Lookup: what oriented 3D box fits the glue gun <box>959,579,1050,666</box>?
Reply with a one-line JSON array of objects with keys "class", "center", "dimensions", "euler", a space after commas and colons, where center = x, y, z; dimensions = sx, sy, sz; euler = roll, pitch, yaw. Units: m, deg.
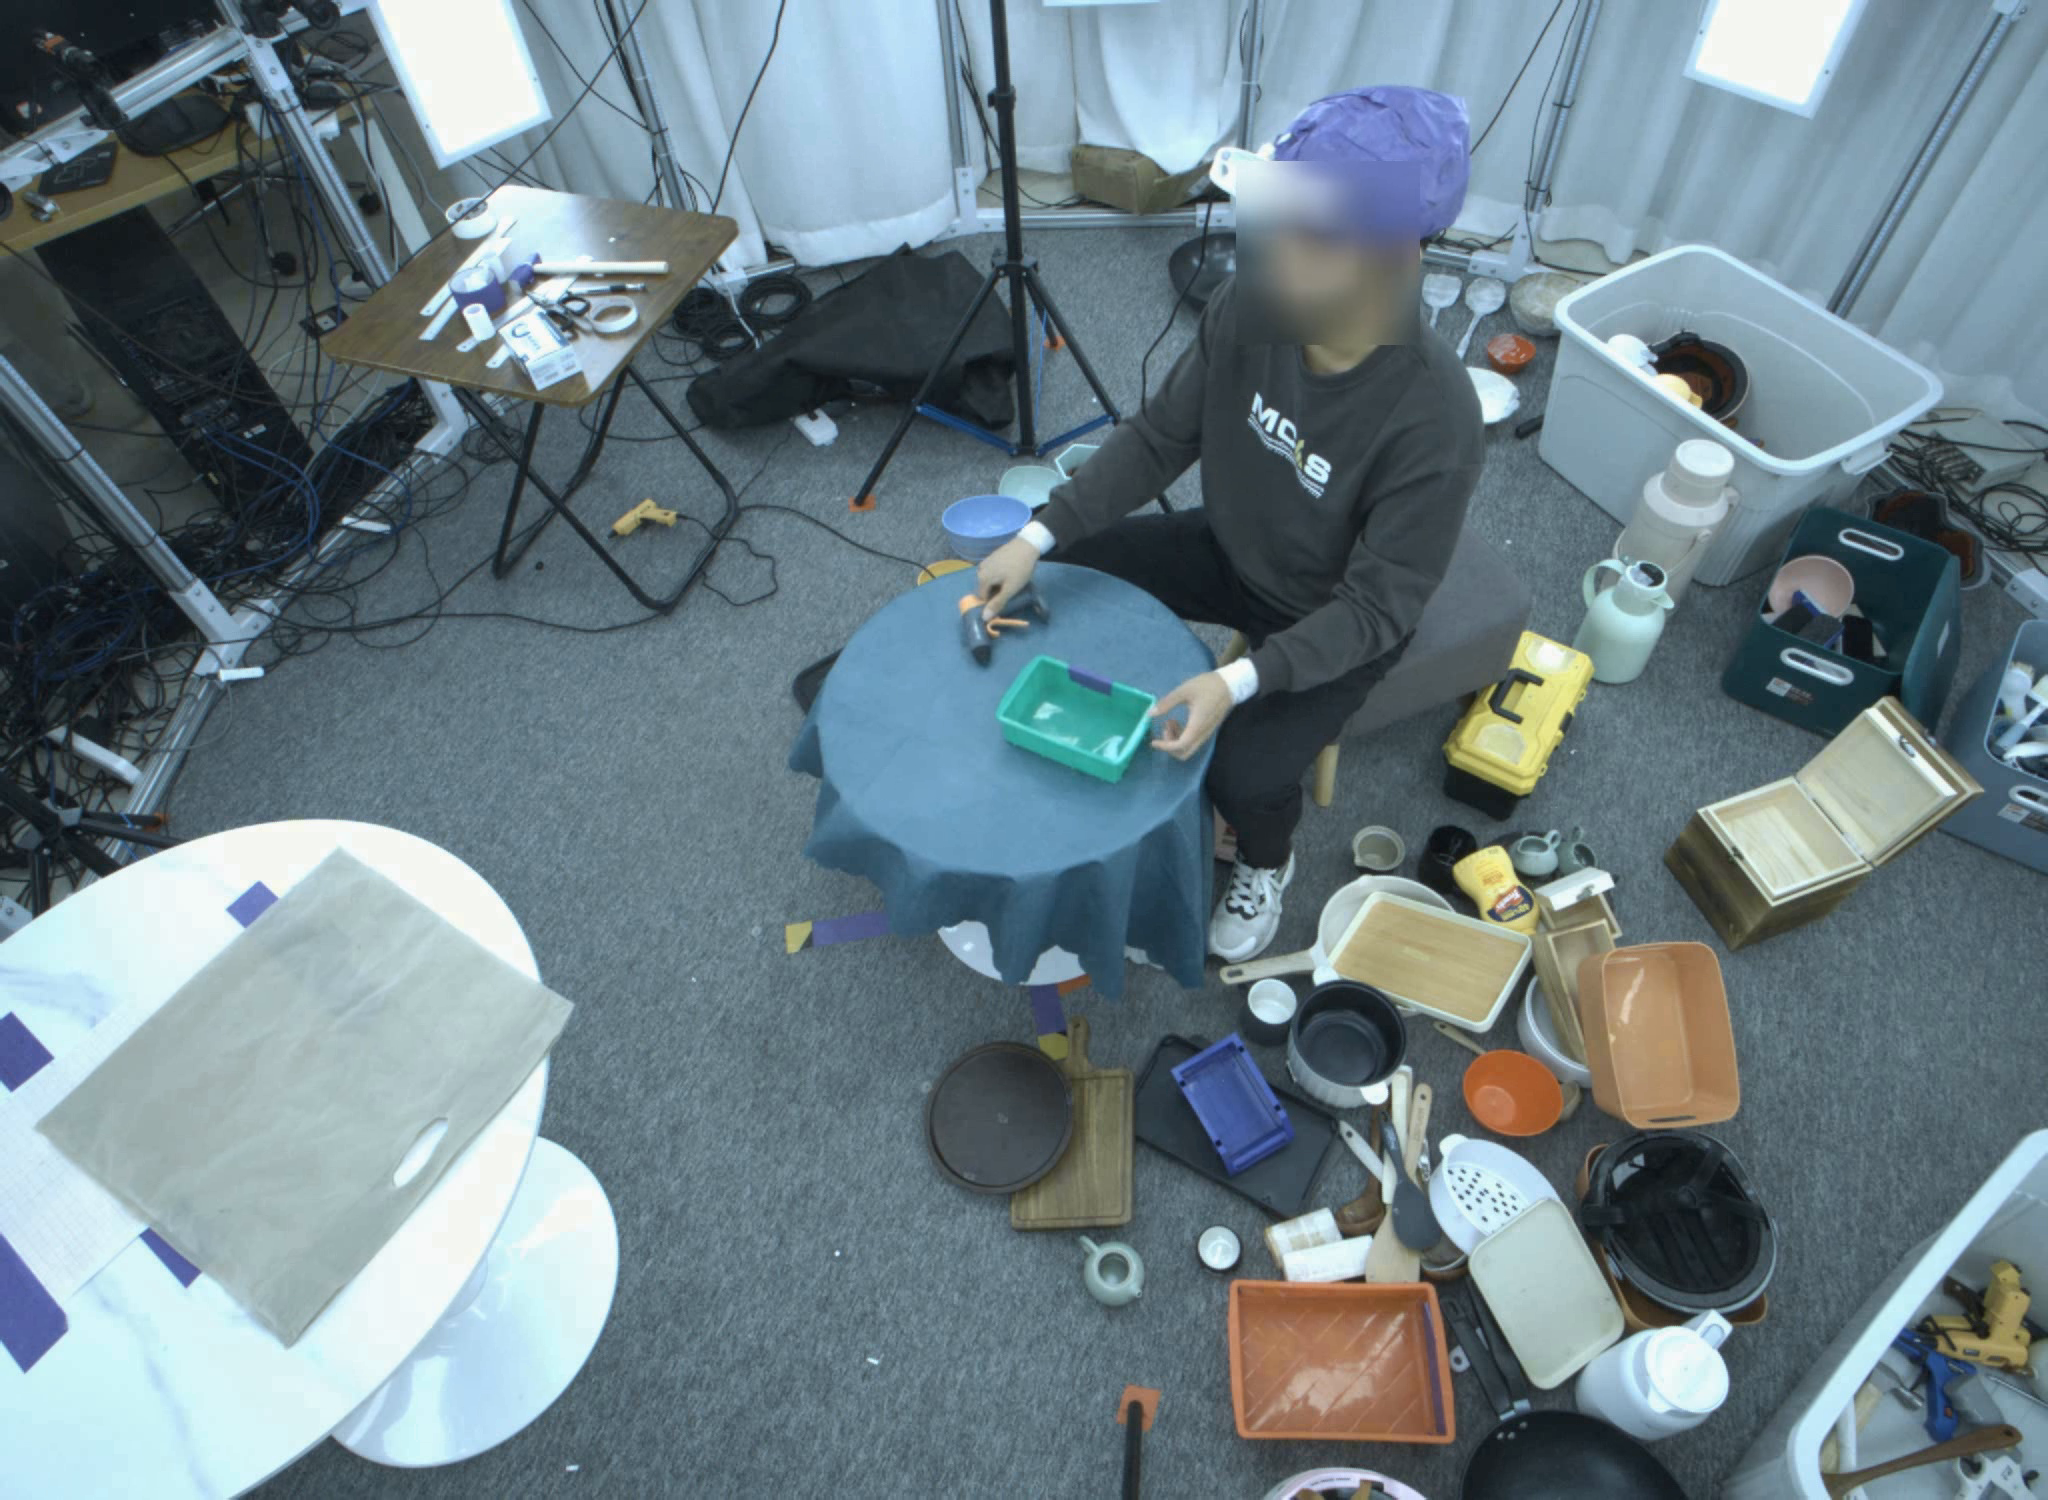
[{"class": "glue gun", "center": [-0.034, -0.201, 1.909], "dimensions": [0.141, 0.041, 0.116], "euler": [-28, 71, -15]}]

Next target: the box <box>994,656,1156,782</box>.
[{"class": "box", "center": [0.075, -0.043, 1.775], "dimensions": [0.207, 0.066, 0.139], "euler": [20, 57, 18]}]
